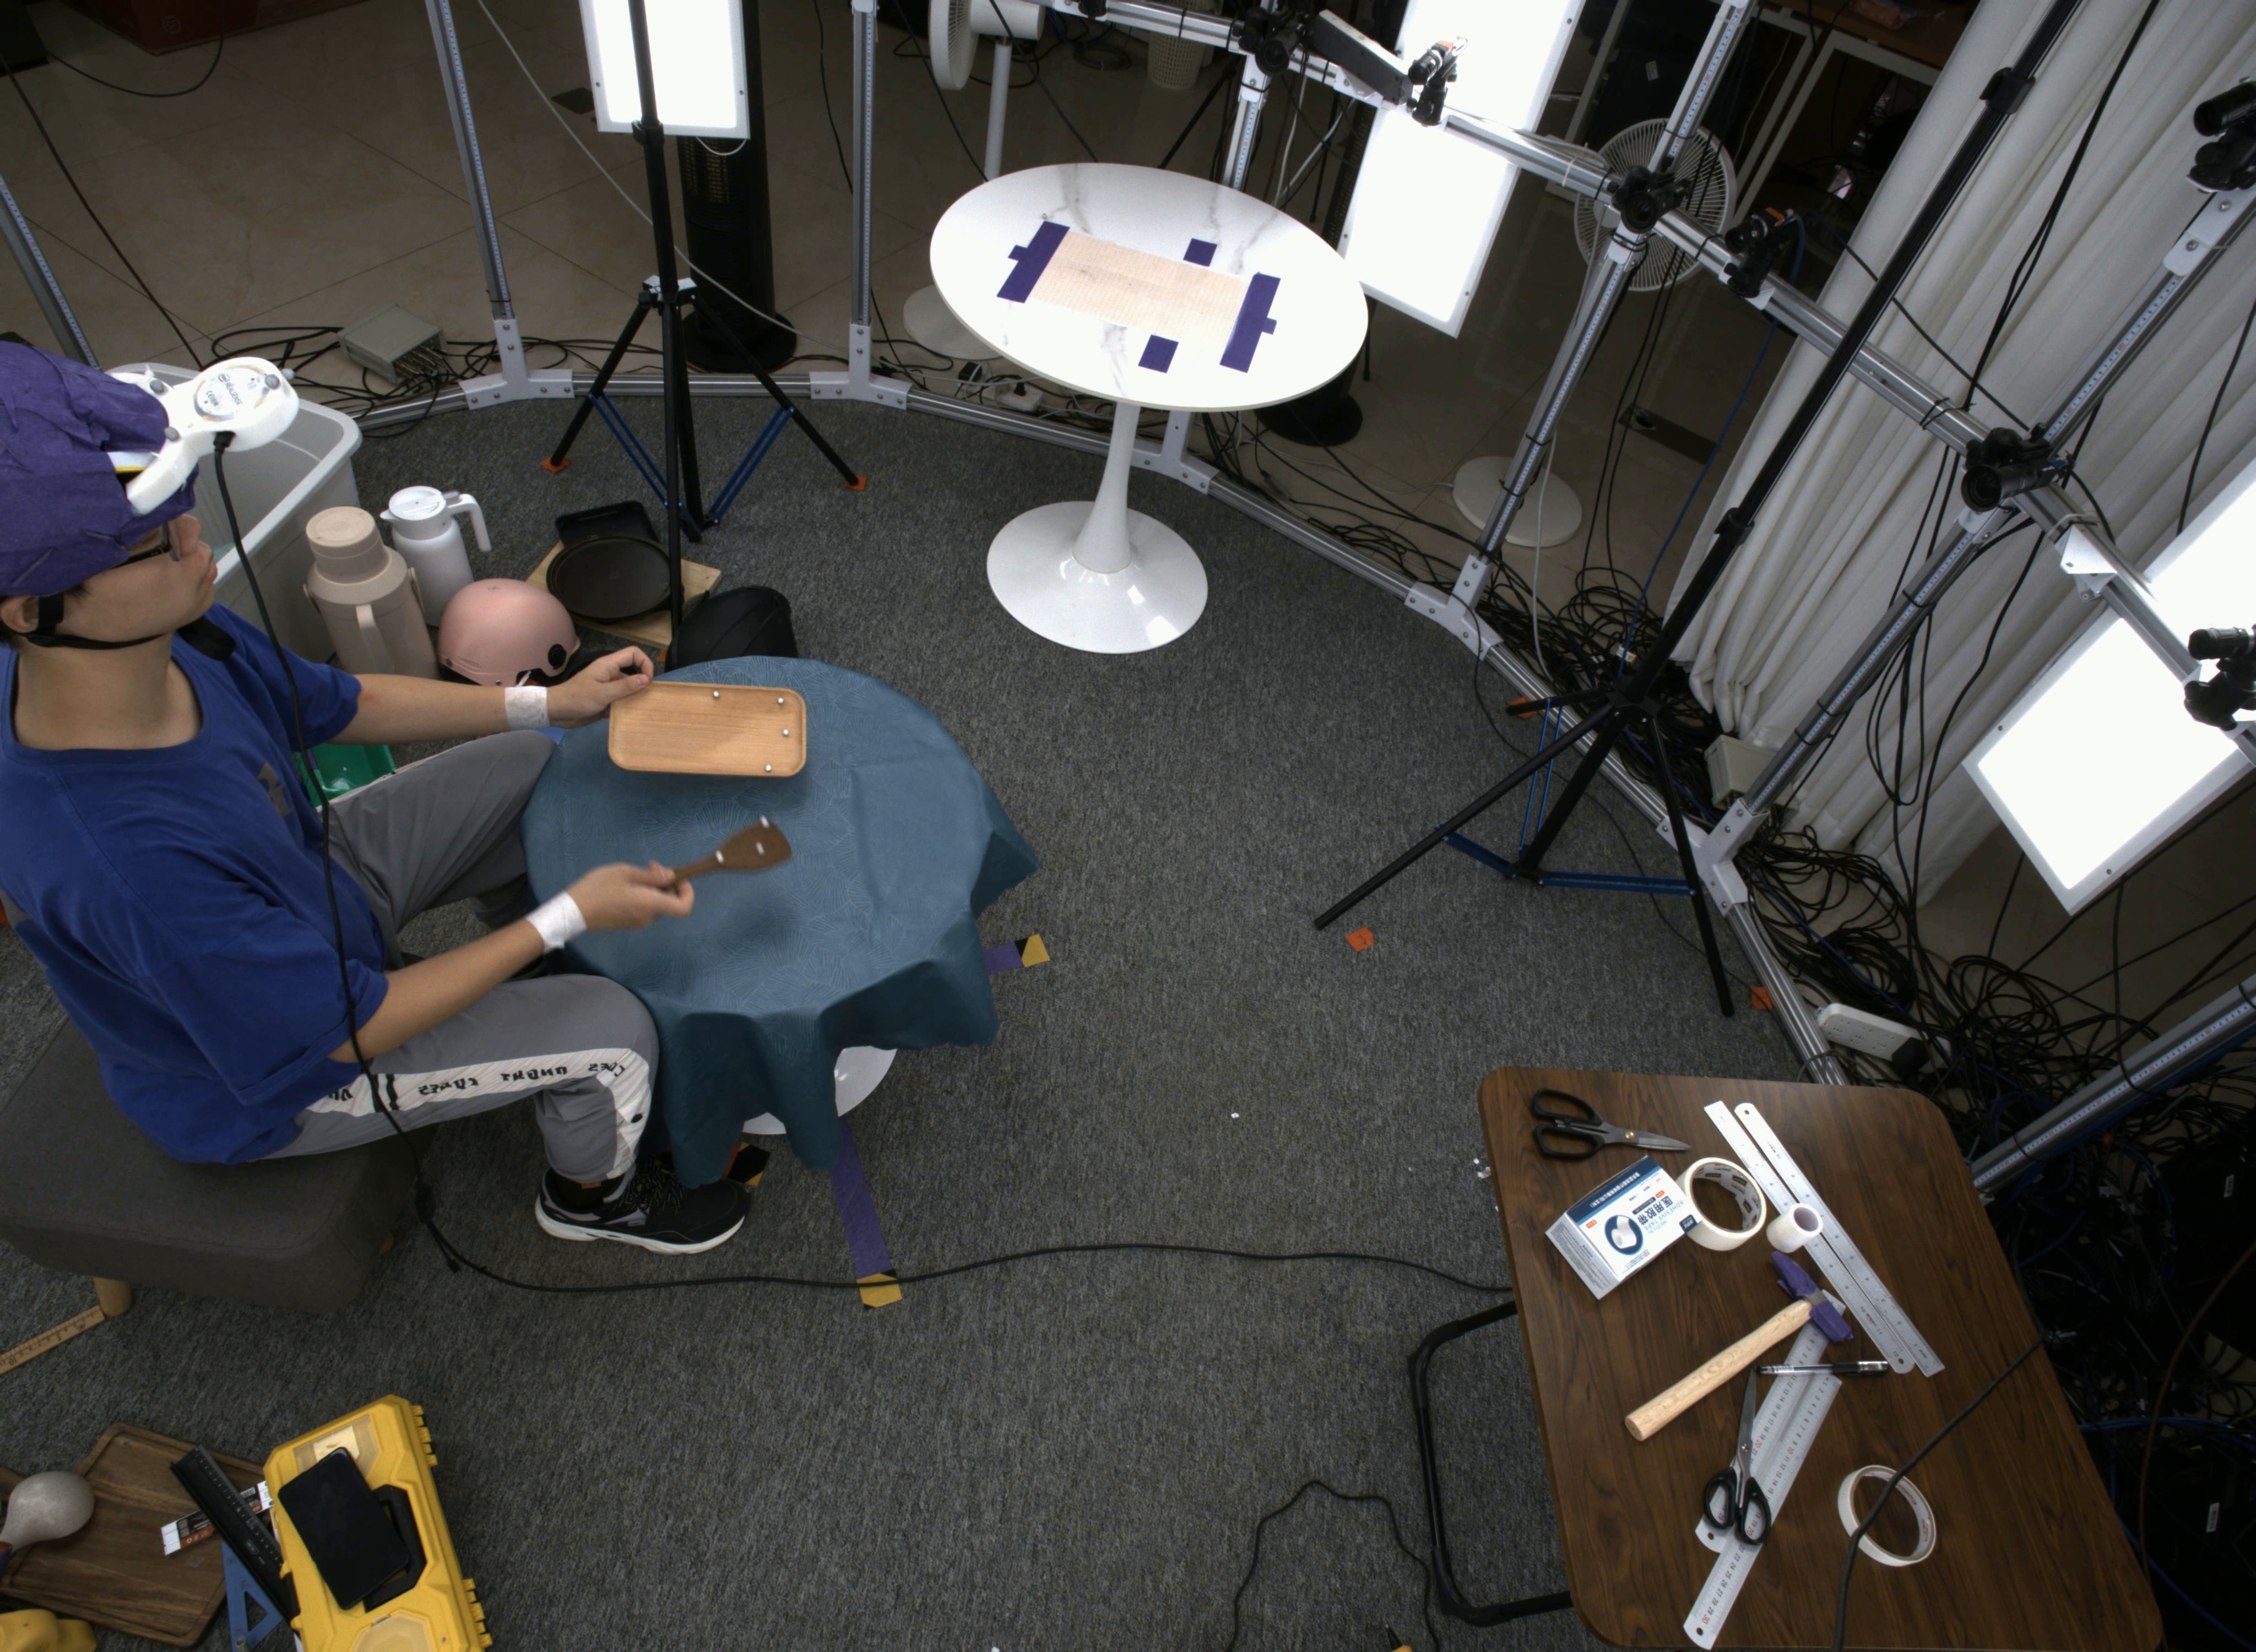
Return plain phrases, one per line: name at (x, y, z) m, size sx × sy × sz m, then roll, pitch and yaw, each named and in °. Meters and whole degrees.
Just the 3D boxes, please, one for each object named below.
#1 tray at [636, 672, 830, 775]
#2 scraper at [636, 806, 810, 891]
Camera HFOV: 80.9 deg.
tray at (-0.523, -0.134, 1.709) m, size 0.252 × 0.023 × 0.130 m, roll 4°, pitch 71°, yaw -20°
scraper at (-0.490, 0.031, 1.556) m, size 0.212 × 0.011 × 0.073 m, roll -22°, pitch 54°, yaw -29°
